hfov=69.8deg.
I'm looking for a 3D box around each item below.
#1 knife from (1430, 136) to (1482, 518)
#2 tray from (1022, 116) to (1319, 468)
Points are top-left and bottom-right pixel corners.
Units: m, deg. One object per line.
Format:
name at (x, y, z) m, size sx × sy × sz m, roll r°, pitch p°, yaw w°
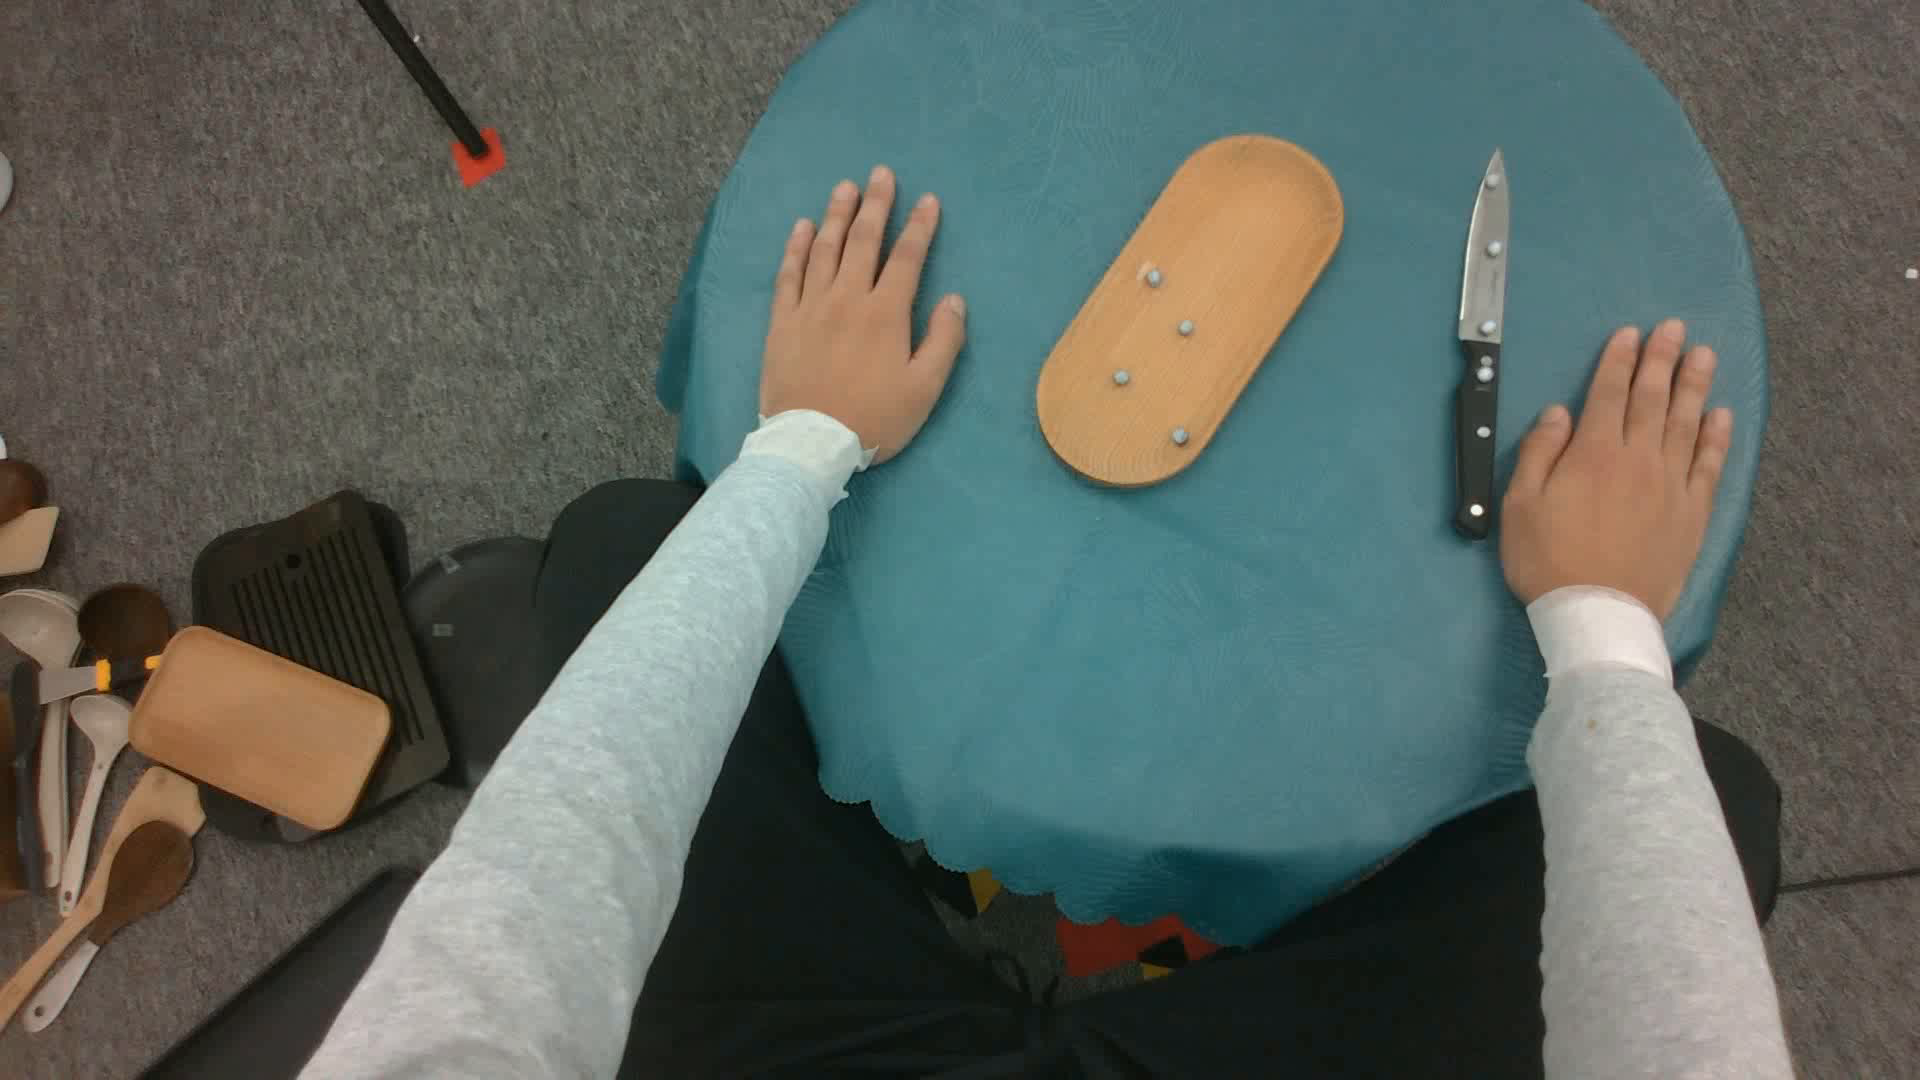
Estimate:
knife at (0.277, -0.123, 0.763) m, size 0.024 × 0.016 × 0.239 m, roll 7°, pitch 71°, yaw 7°
tray at (0.119, -0.141, 0.775) m, size 0.101 × 0.020 × 0.232 m, roll 30°, pitch 76°, yaw 10°
